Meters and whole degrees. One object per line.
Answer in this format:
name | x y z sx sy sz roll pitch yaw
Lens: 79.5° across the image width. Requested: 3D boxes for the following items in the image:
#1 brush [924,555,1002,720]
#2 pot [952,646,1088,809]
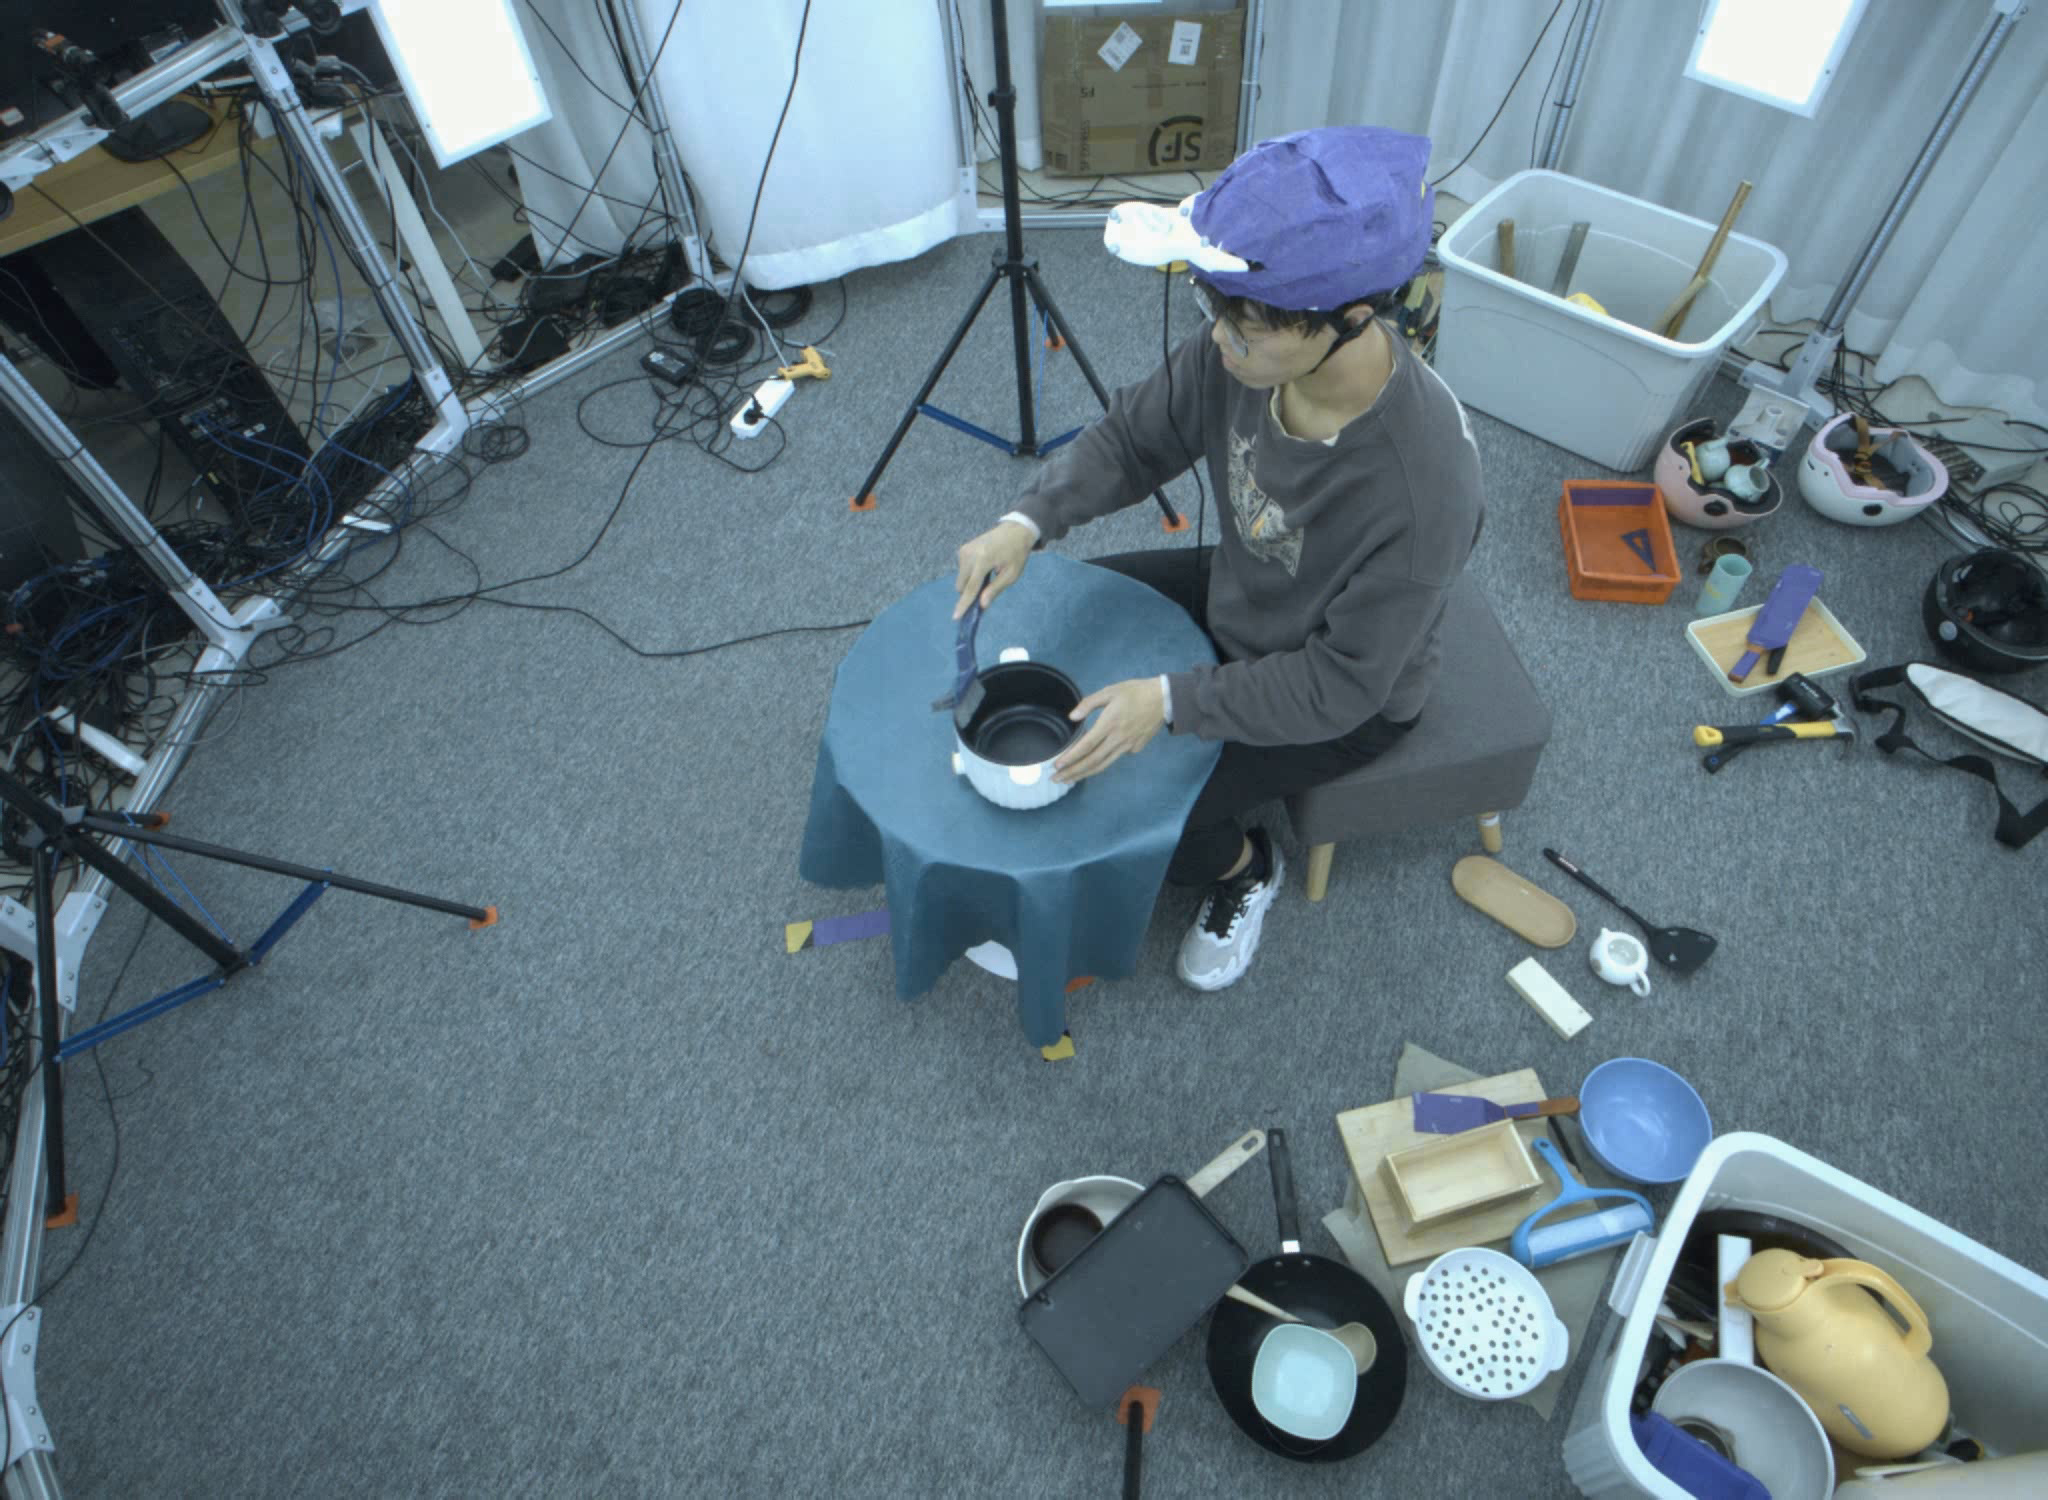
brush | -0.077 -0.165 1.648 0.033 0.098 0.271 -14 56 35
pot | -0.007 -0.012 1.707 0.191 0.144 0.237 -4 53 -4
